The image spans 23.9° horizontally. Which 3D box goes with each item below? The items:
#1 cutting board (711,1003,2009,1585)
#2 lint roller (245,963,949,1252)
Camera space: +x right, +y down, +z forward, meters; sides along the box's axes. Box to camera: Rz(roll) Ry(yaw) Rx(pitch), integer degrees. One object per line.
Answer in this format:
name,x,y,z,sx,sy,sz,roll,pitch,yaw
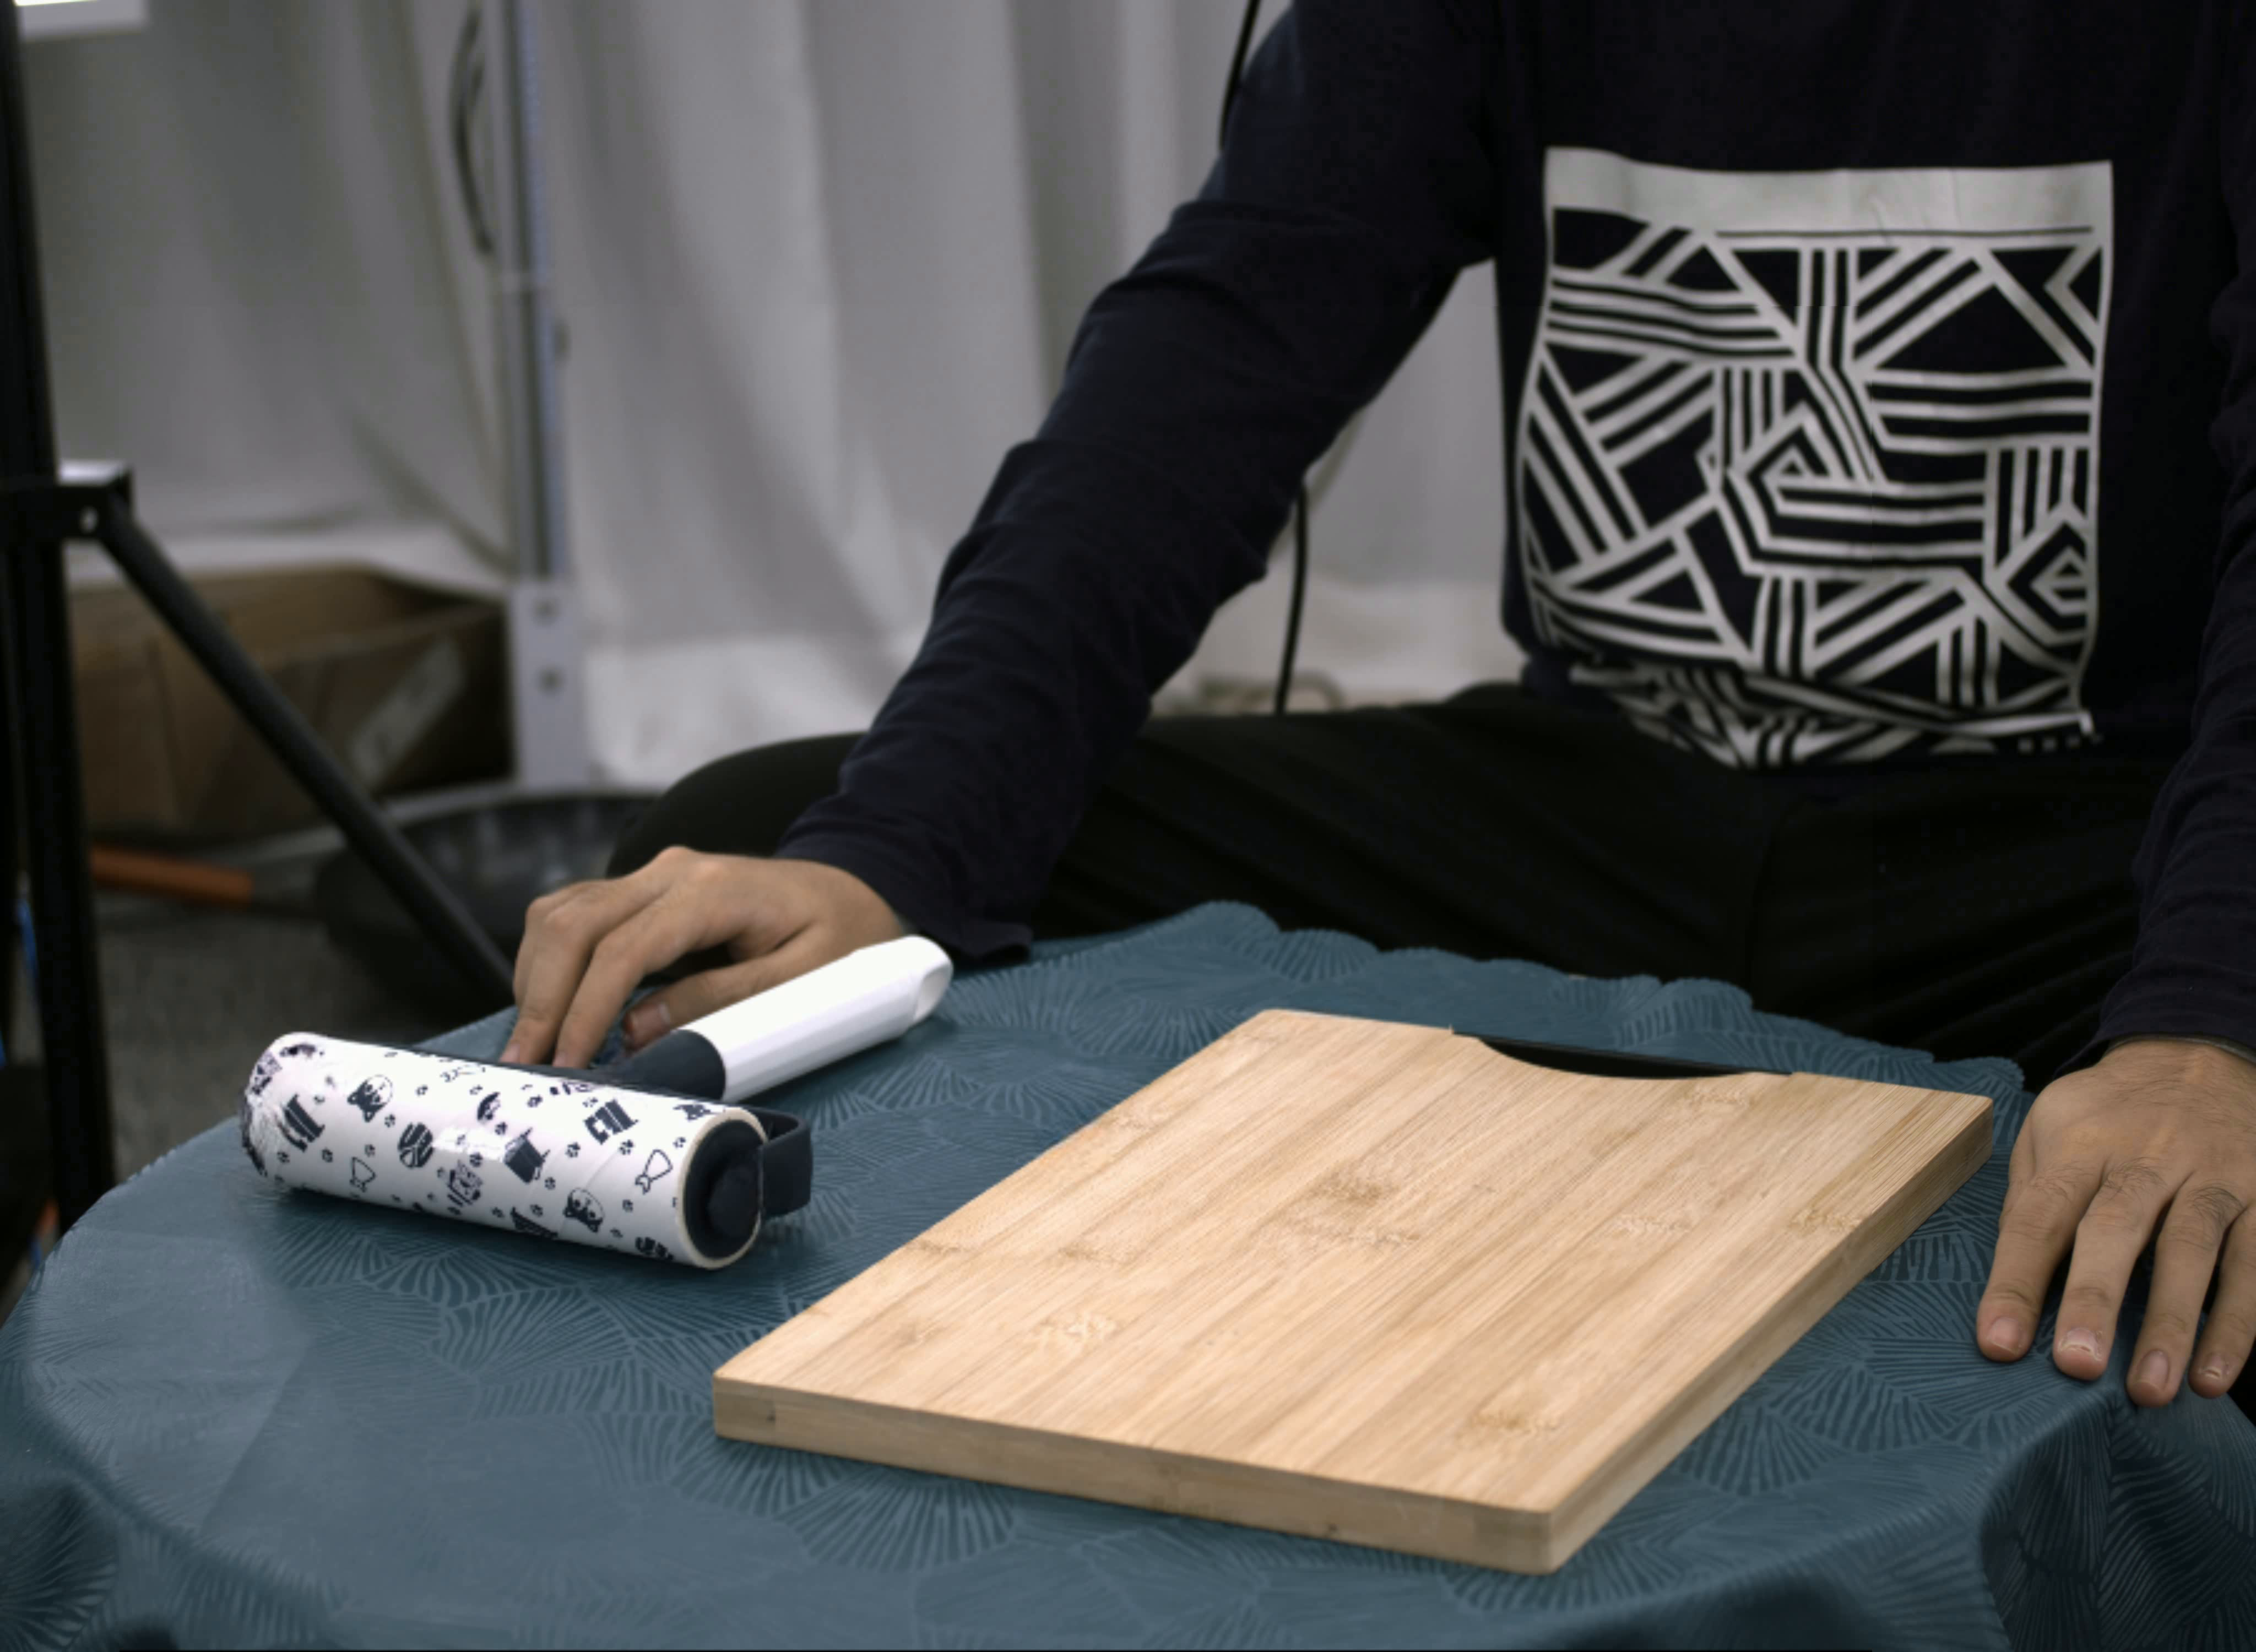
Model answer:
cutting board,0.074,0.120,1.479,0.255,0.023,0.343,6,18,27
lint roller,-0.130,0.071,1.637,0.179,0.050,0.242,6,15,32
